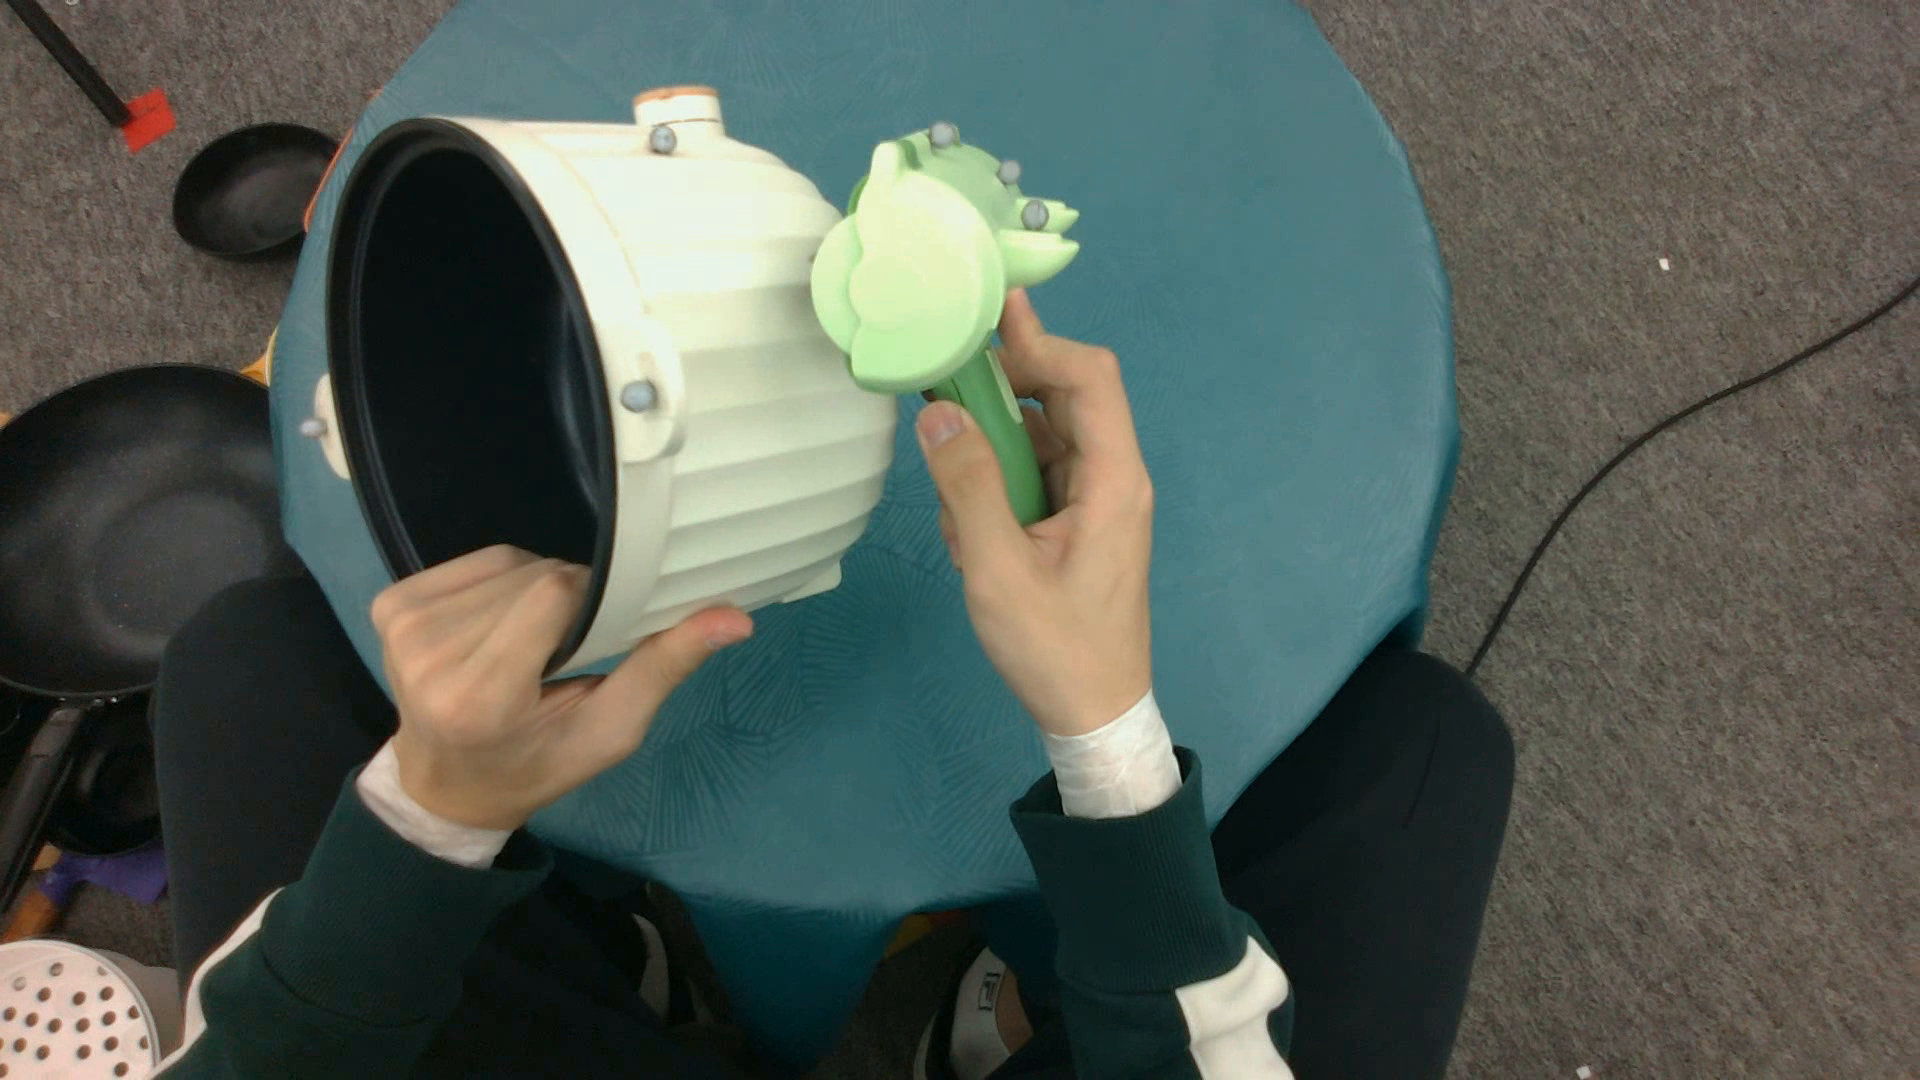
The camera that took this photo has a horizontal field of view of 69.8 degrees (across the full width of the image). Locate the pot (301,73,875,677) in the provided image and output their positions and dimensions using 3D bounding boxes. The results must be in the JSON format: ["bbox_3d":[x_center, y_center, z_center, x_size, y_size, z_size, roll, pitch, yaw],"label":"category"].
[{"bbox_3d":[-0.127,-0.064,0.486,0.143,0.239,0.190,-22,104,-44],"label":"pot"}]

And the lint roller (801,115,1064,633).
[{"bbox_3d":[0.014,-0.058,0.481,0.082,0.199,0.183,-23,106,9],"label":"lint roller"}]
